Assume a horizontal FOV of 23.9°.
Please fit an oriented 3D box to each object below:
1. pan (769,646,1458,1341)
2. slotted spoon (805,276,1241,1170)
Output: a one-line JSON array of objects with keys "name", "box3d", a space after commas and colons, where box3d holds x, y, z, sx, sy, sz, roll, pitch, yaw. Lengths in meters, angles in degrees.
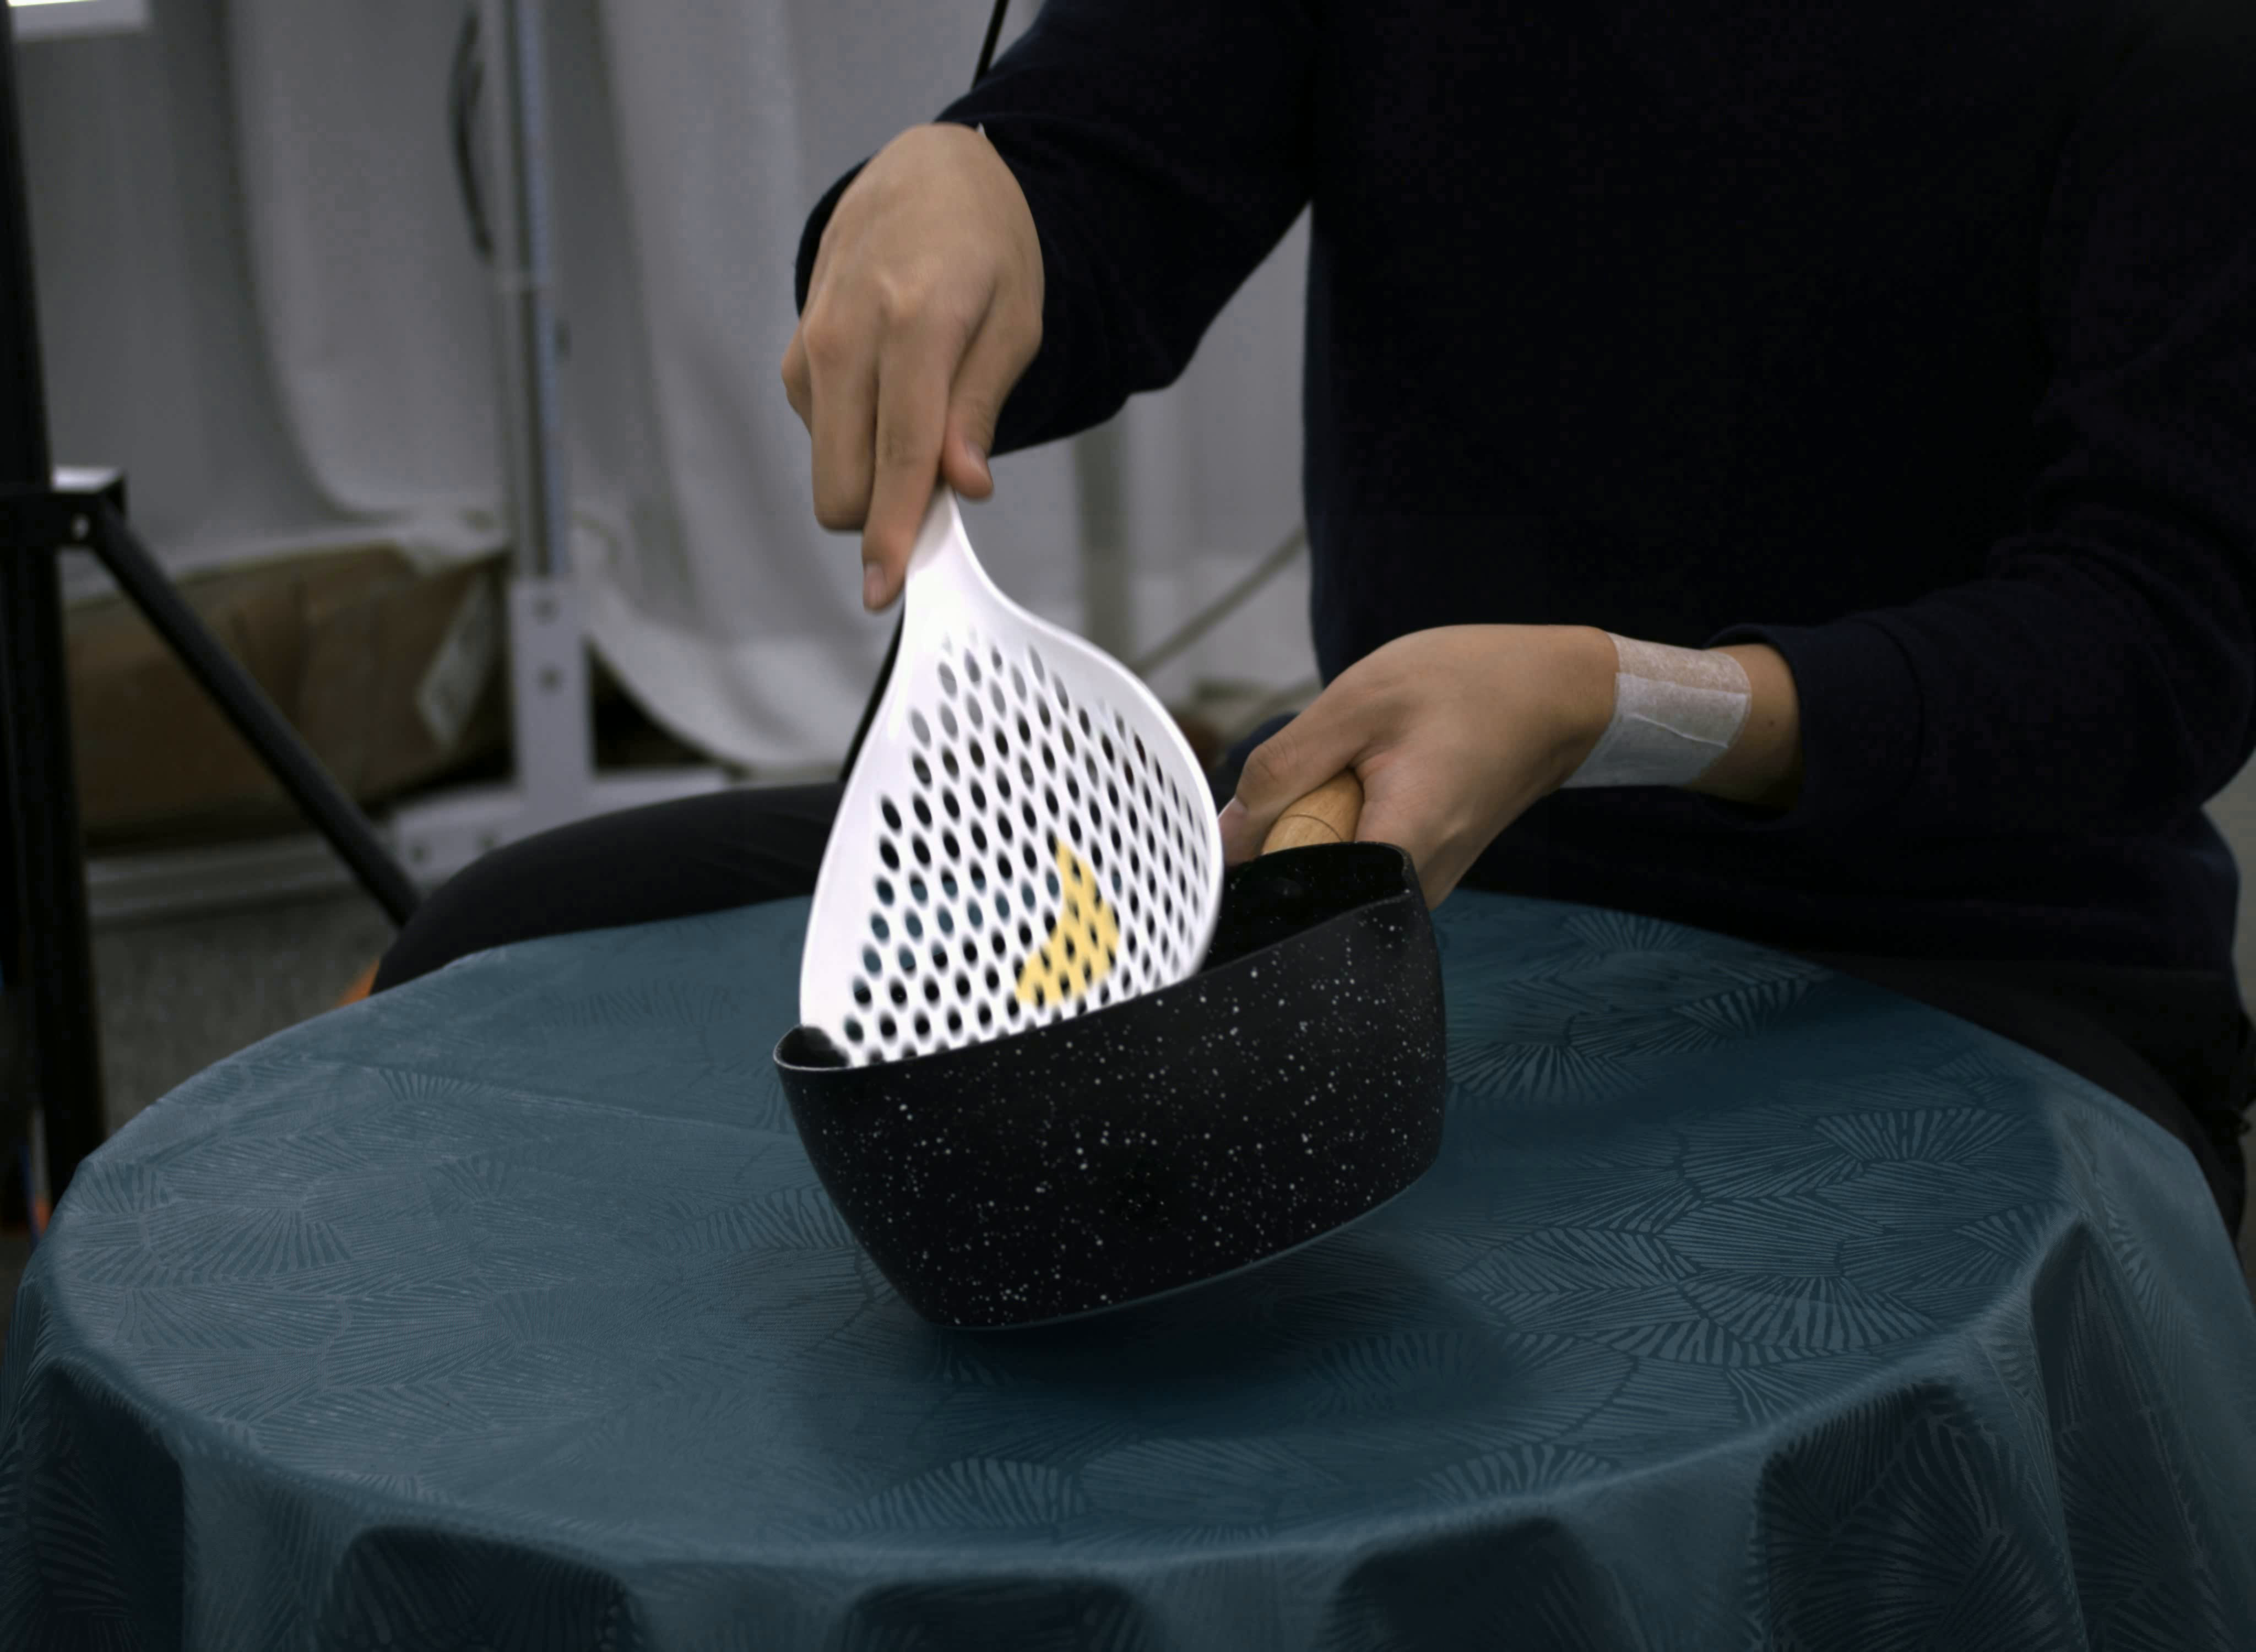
[{"name": "pan", "box3d": [0.032, 0.042, 1.524, 0.210, 0.108, 0.338, -15, 10, 29]}, {"name": "slotted spoon", "box3d": [-0.045, -0.046, 1.498, 0.138, 0.049, 0.354, -31, 50, 18]}]
